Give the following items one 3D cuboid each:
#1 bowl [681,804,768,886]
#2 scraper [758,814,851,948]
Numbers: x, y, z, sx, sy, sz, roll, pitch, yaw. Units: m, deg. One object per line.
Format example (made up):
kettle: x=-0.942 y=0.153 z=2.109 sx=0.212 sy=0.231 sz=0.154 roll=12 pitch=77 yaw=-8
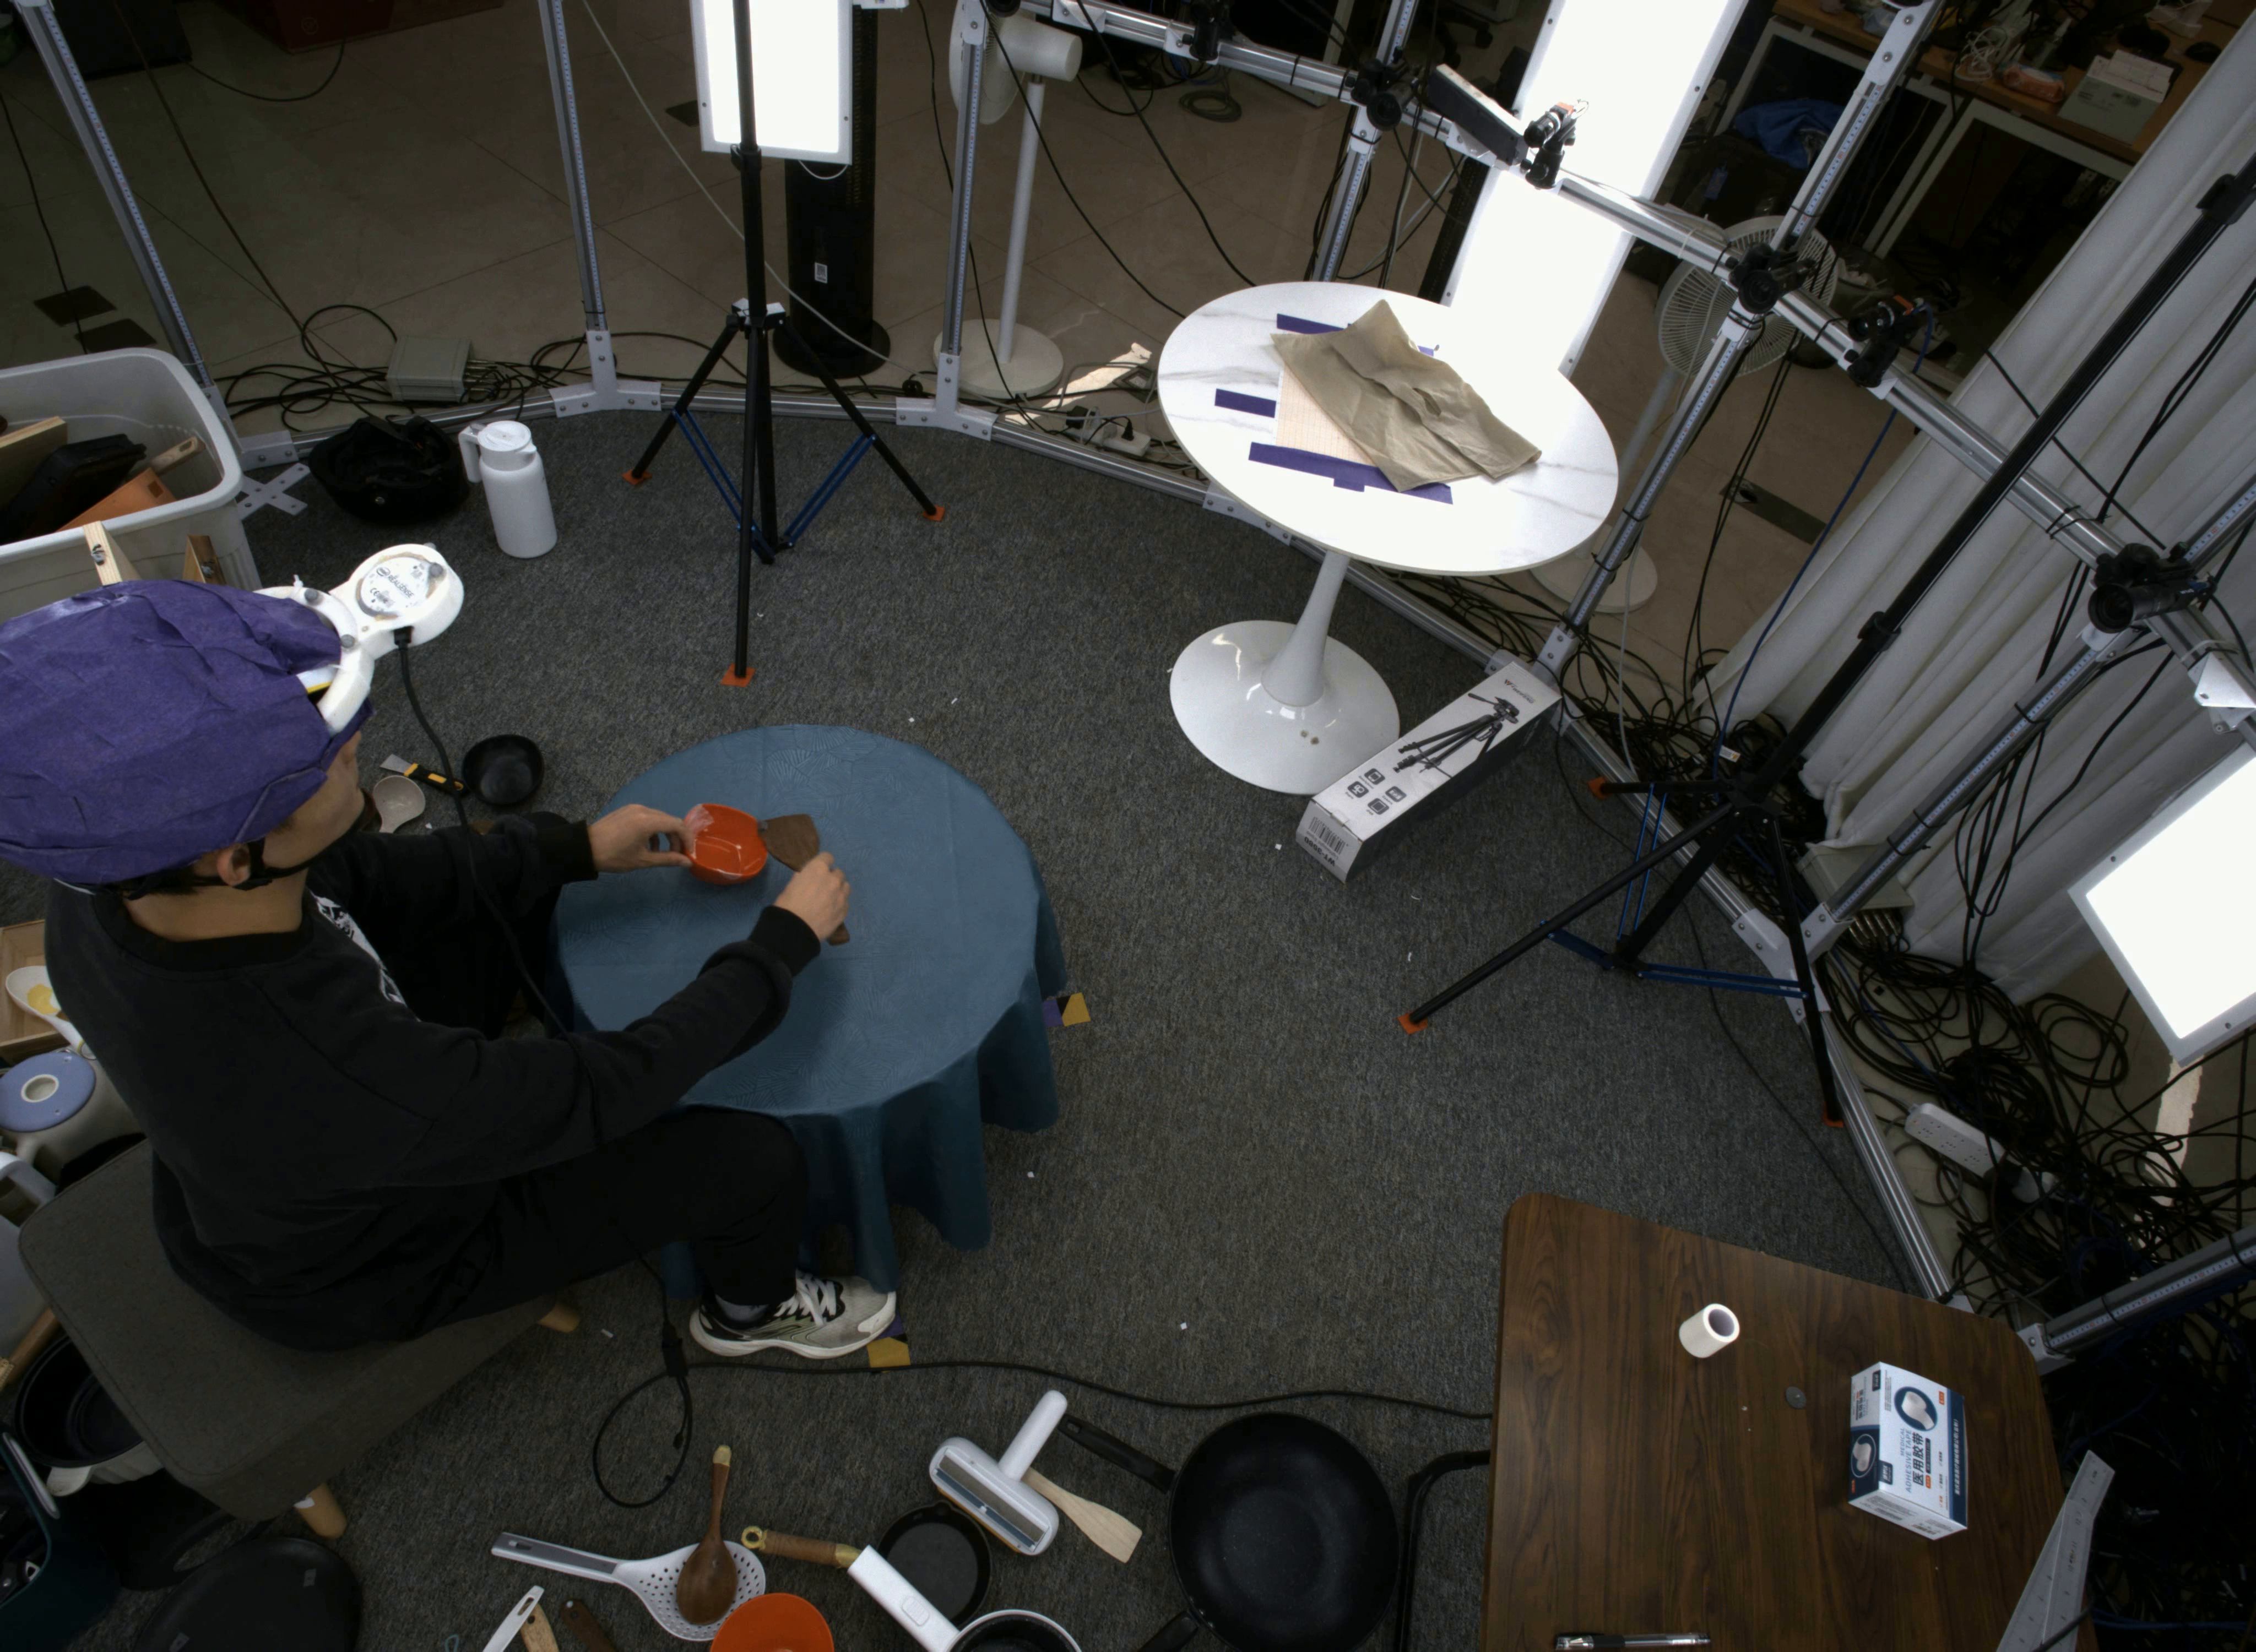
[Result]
bowl: x=-0.517 y=0.031 z=1.635 sx=0.121 sy=0.051 sz=0.116 roll=26 pitch=39 yaw=-22
scraper: x=-0.385 y=0.064 z=1.580 sx=0.077 sy=0.011 sz=0.205 roll=-10 pitch=53 yaw=-34
